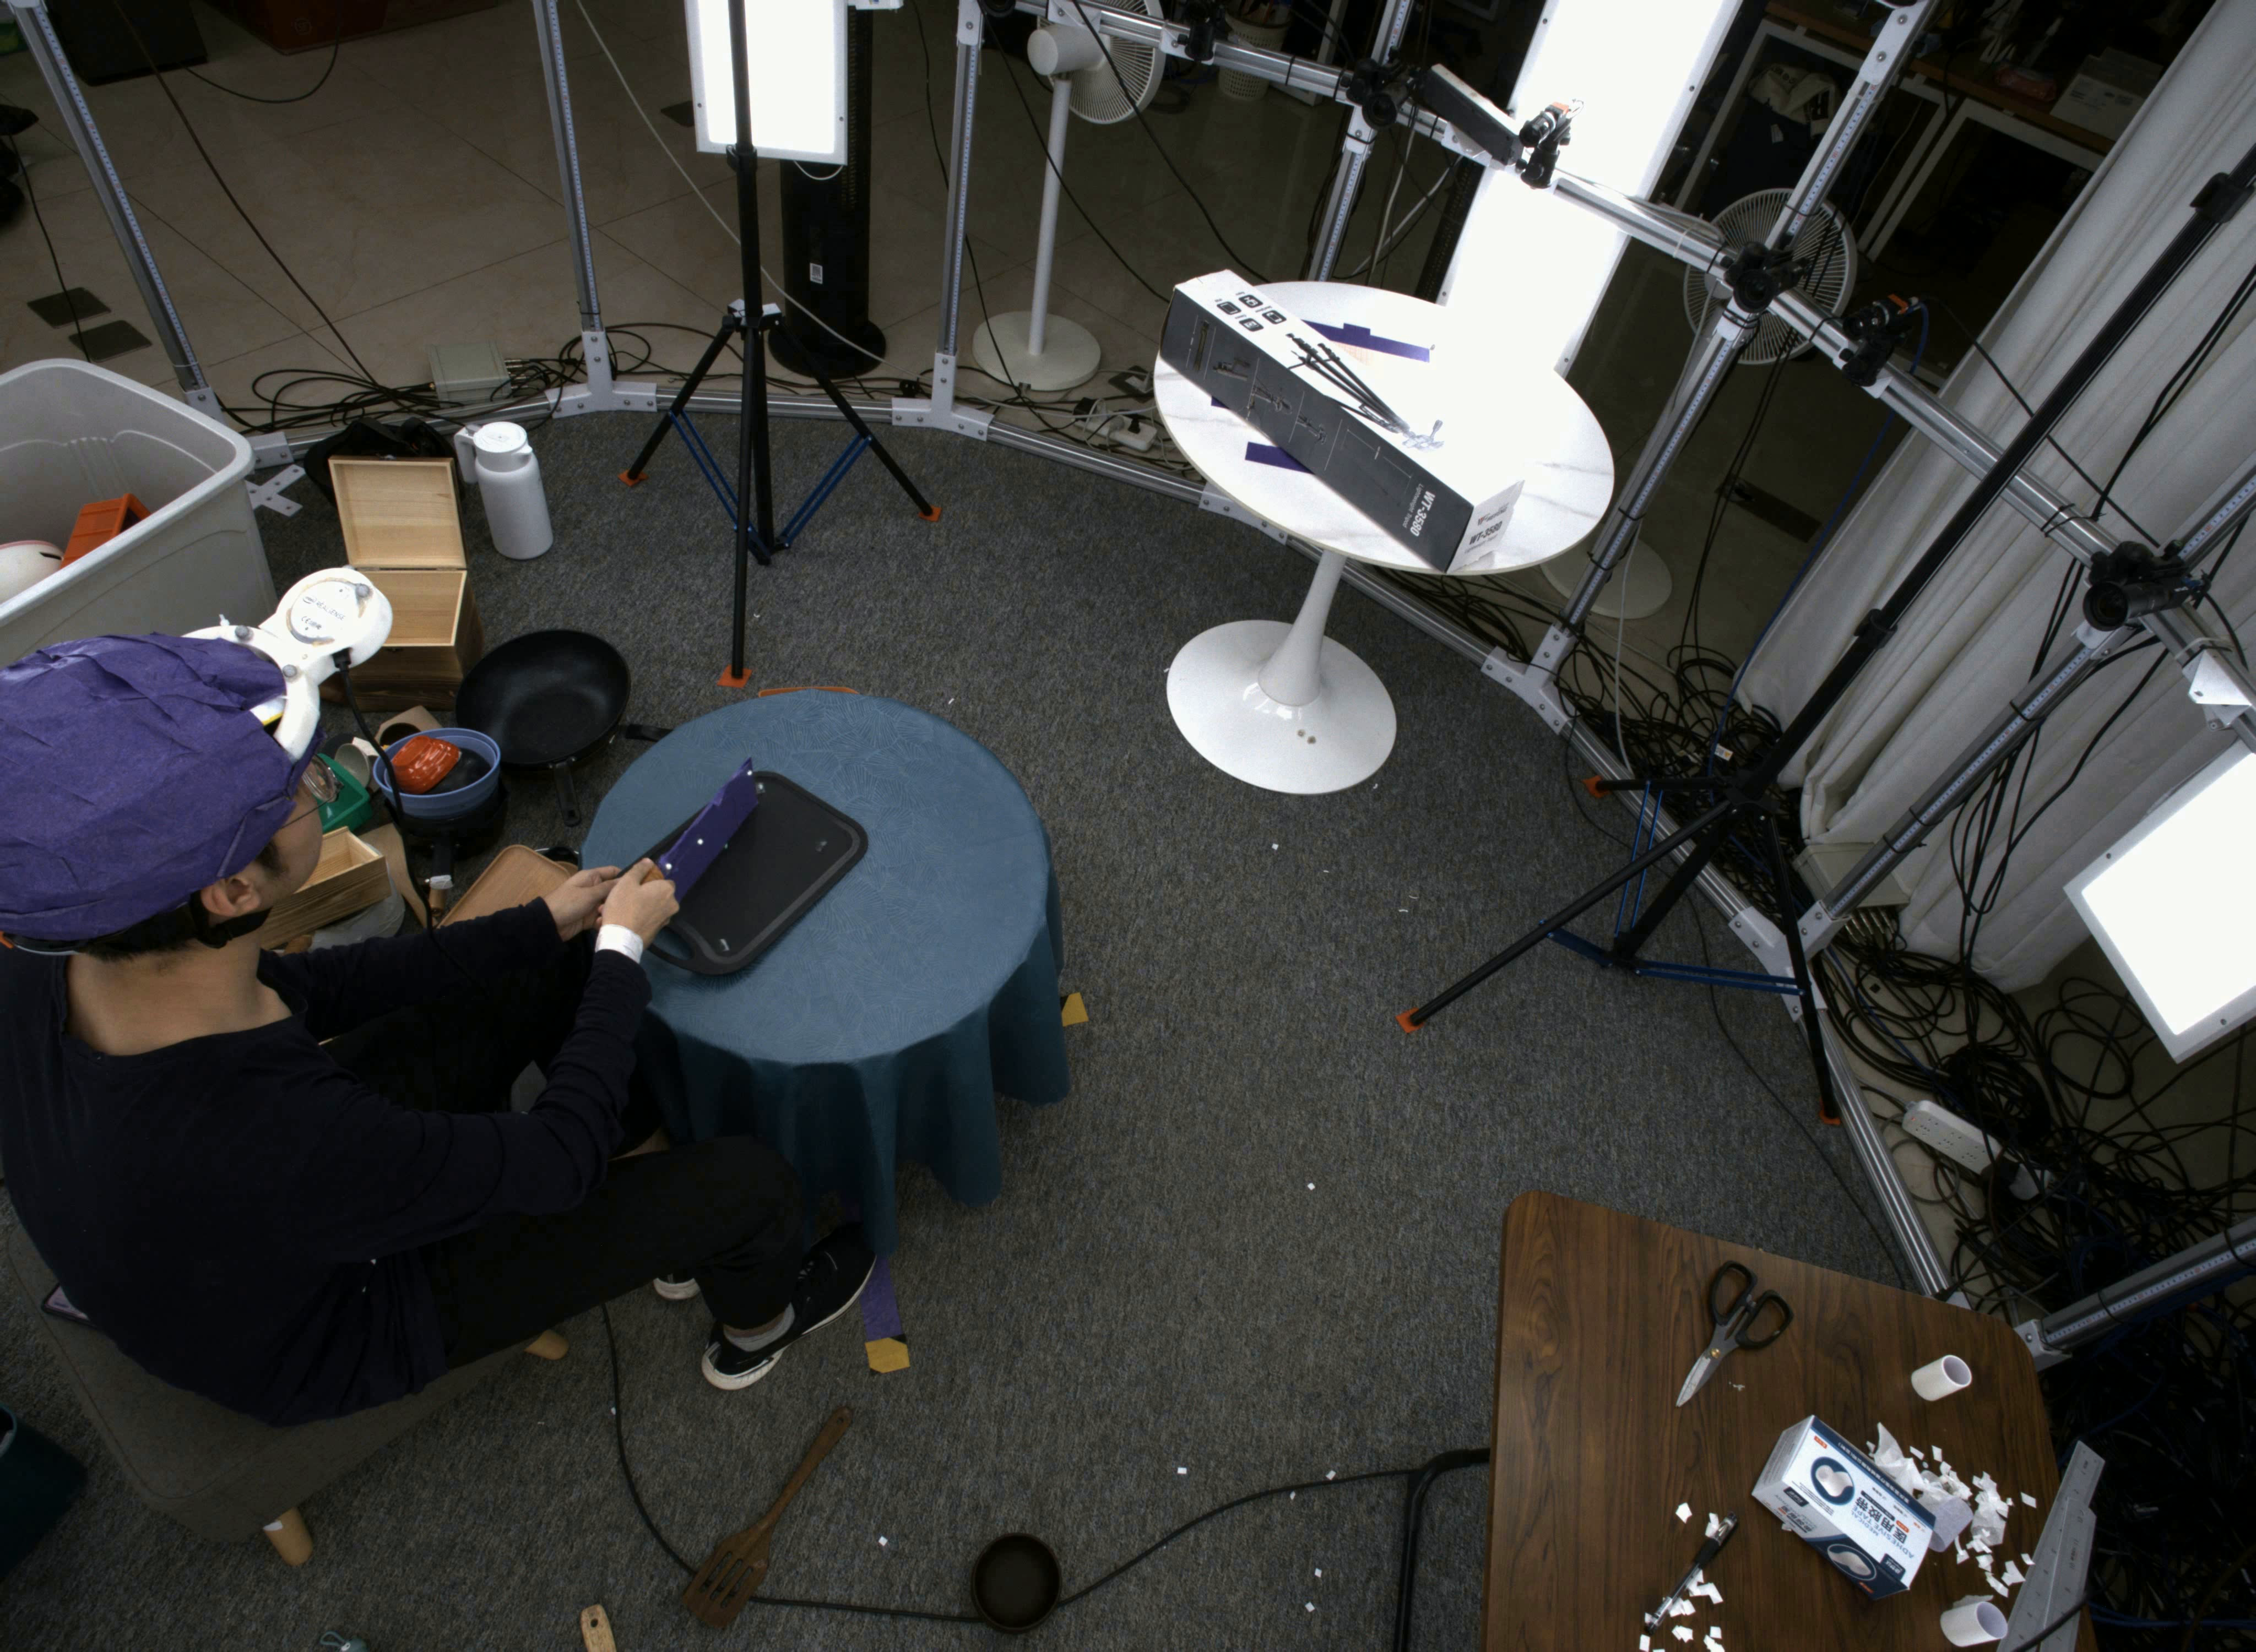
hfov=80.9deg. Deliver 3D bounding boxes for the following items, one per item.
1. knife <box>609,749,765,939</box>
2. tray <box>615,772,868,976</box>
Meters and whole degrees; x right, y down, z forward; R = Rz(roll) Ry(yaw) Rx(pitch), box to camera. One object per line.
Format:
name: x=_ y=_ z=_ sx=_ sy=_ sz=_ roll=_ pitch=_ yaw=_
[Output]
knife: x=-0.535 y=0.037 z=1.596 sx=0.031 sy=0.107 sz=0.313 roll=18 pitch=47 yaw=12
tray: x=-0.497 y=0.056 z=1.659 sx=0.207 sy=0.010 sz=0.324 roll=32 pitch=49 yaw=10
